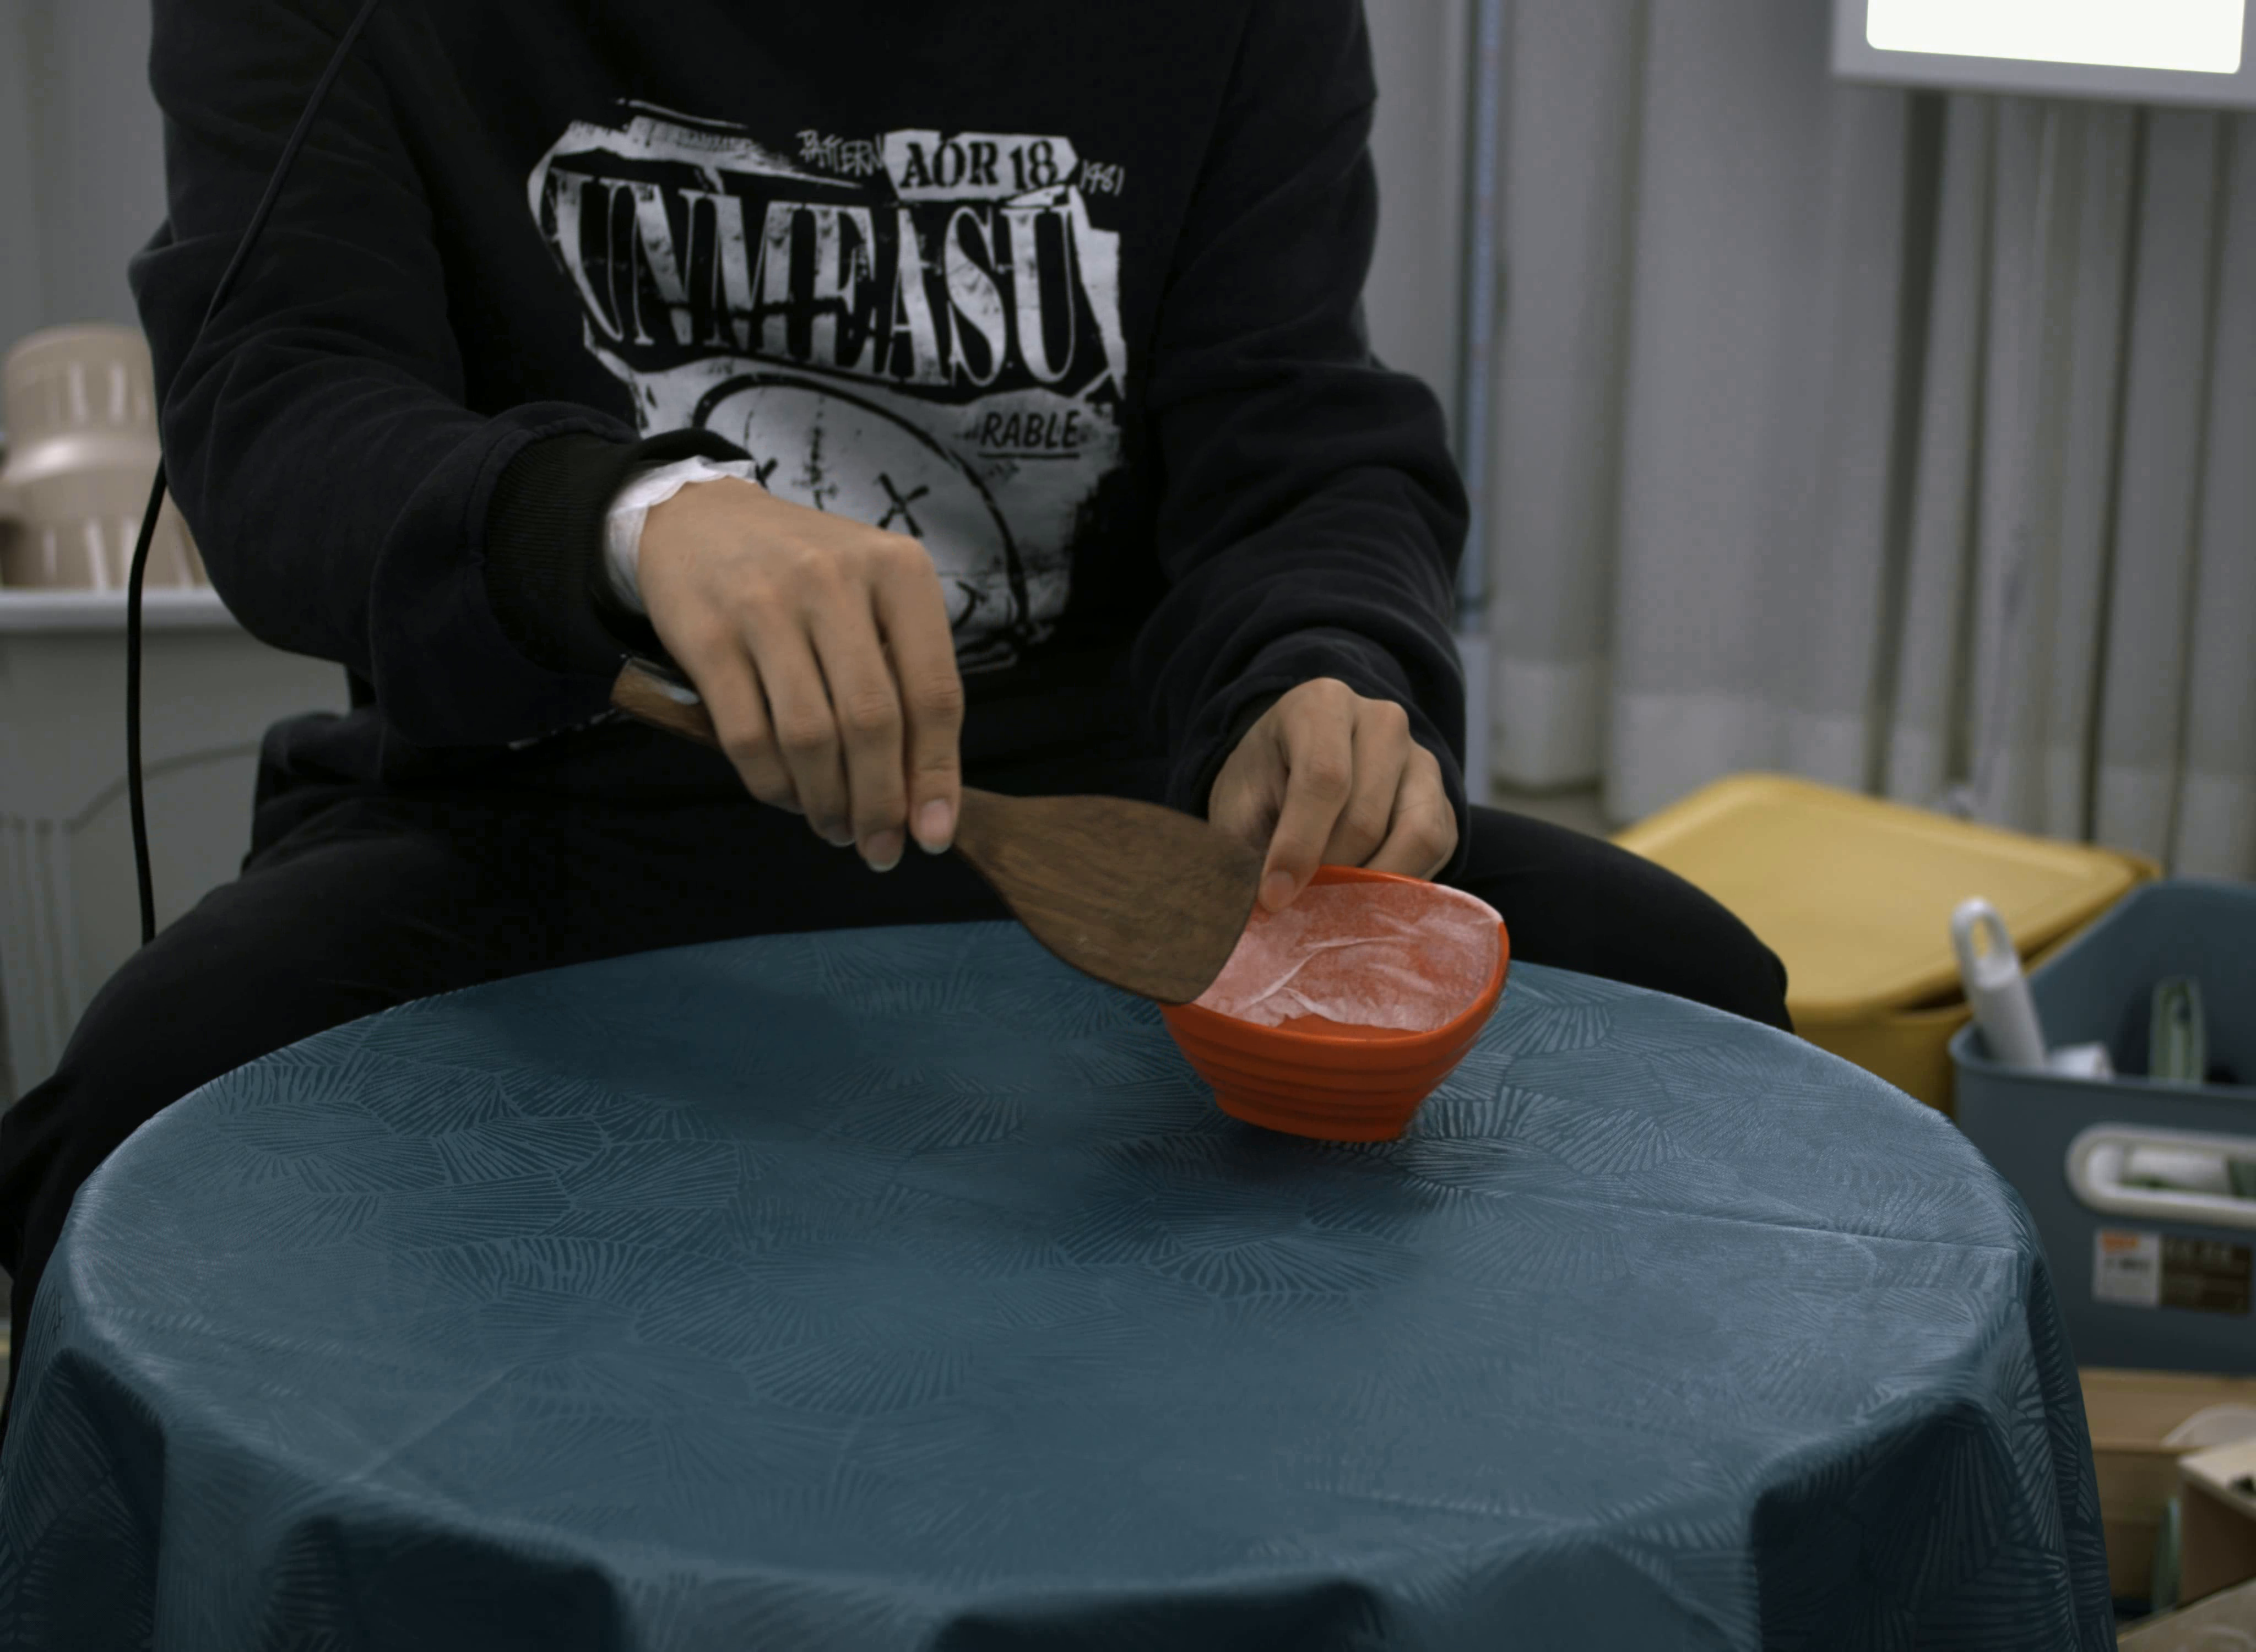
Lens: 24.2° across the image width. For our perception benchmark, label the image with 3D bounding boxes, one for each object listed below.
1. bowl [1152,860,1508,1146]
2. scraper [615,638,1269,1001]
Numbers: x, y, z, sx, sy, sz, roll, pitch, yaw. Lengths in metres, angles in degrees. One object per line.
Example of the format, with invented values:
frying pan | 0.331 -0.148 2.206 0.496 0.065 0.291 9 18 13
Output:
bowl | 0.063 0.061 1.674 0.118 0.052 0.118 2 31 -1
scraper | -0.060 -0.009 1.626 0.210 0.011 0.075 24 52 2
